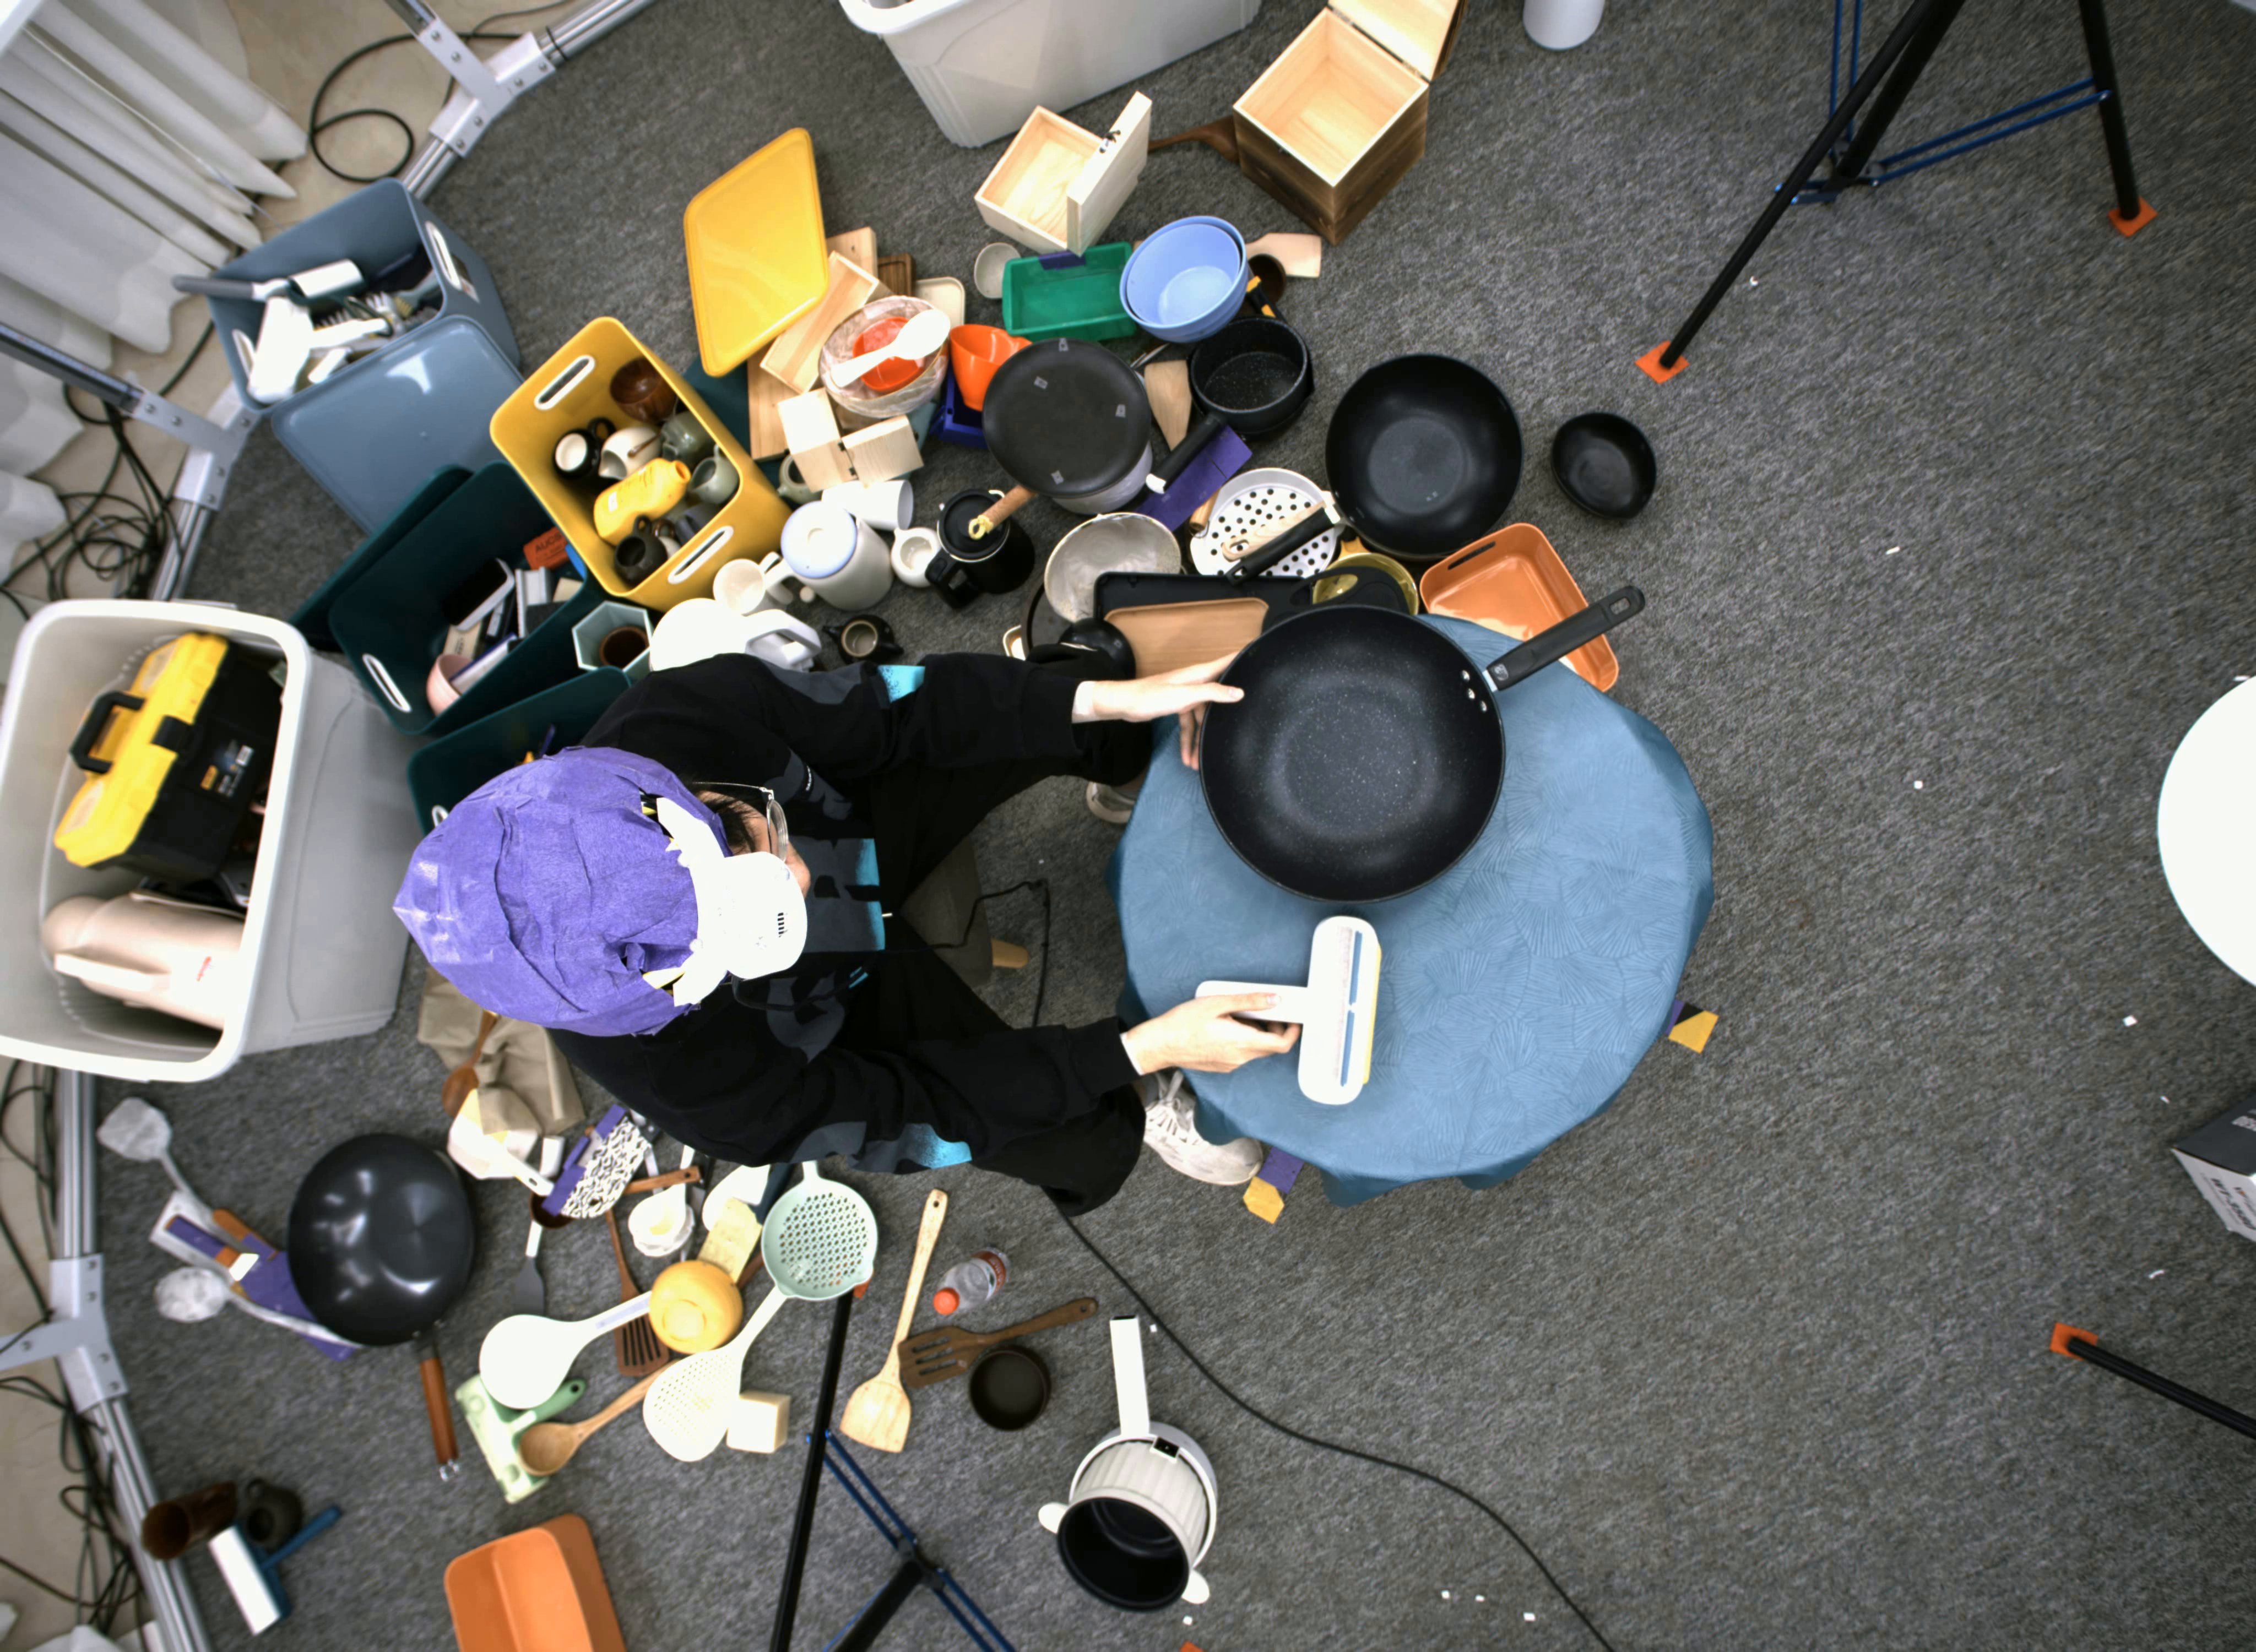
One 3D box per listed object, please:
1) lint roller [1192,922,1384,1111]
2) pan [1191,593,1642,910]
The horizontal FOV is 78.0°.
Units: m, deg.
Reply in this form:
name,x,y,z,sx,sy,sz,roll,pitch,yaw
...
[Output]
name,x,y,z,sx,sy,sz,roll,pitch,yaw
lint roller,0.158,0.186,1.436,0.193,0.074,0.191,9,83,12
pan,0.296,-0.108,1.405,0.480,0.111,0.309,-28,84,8
